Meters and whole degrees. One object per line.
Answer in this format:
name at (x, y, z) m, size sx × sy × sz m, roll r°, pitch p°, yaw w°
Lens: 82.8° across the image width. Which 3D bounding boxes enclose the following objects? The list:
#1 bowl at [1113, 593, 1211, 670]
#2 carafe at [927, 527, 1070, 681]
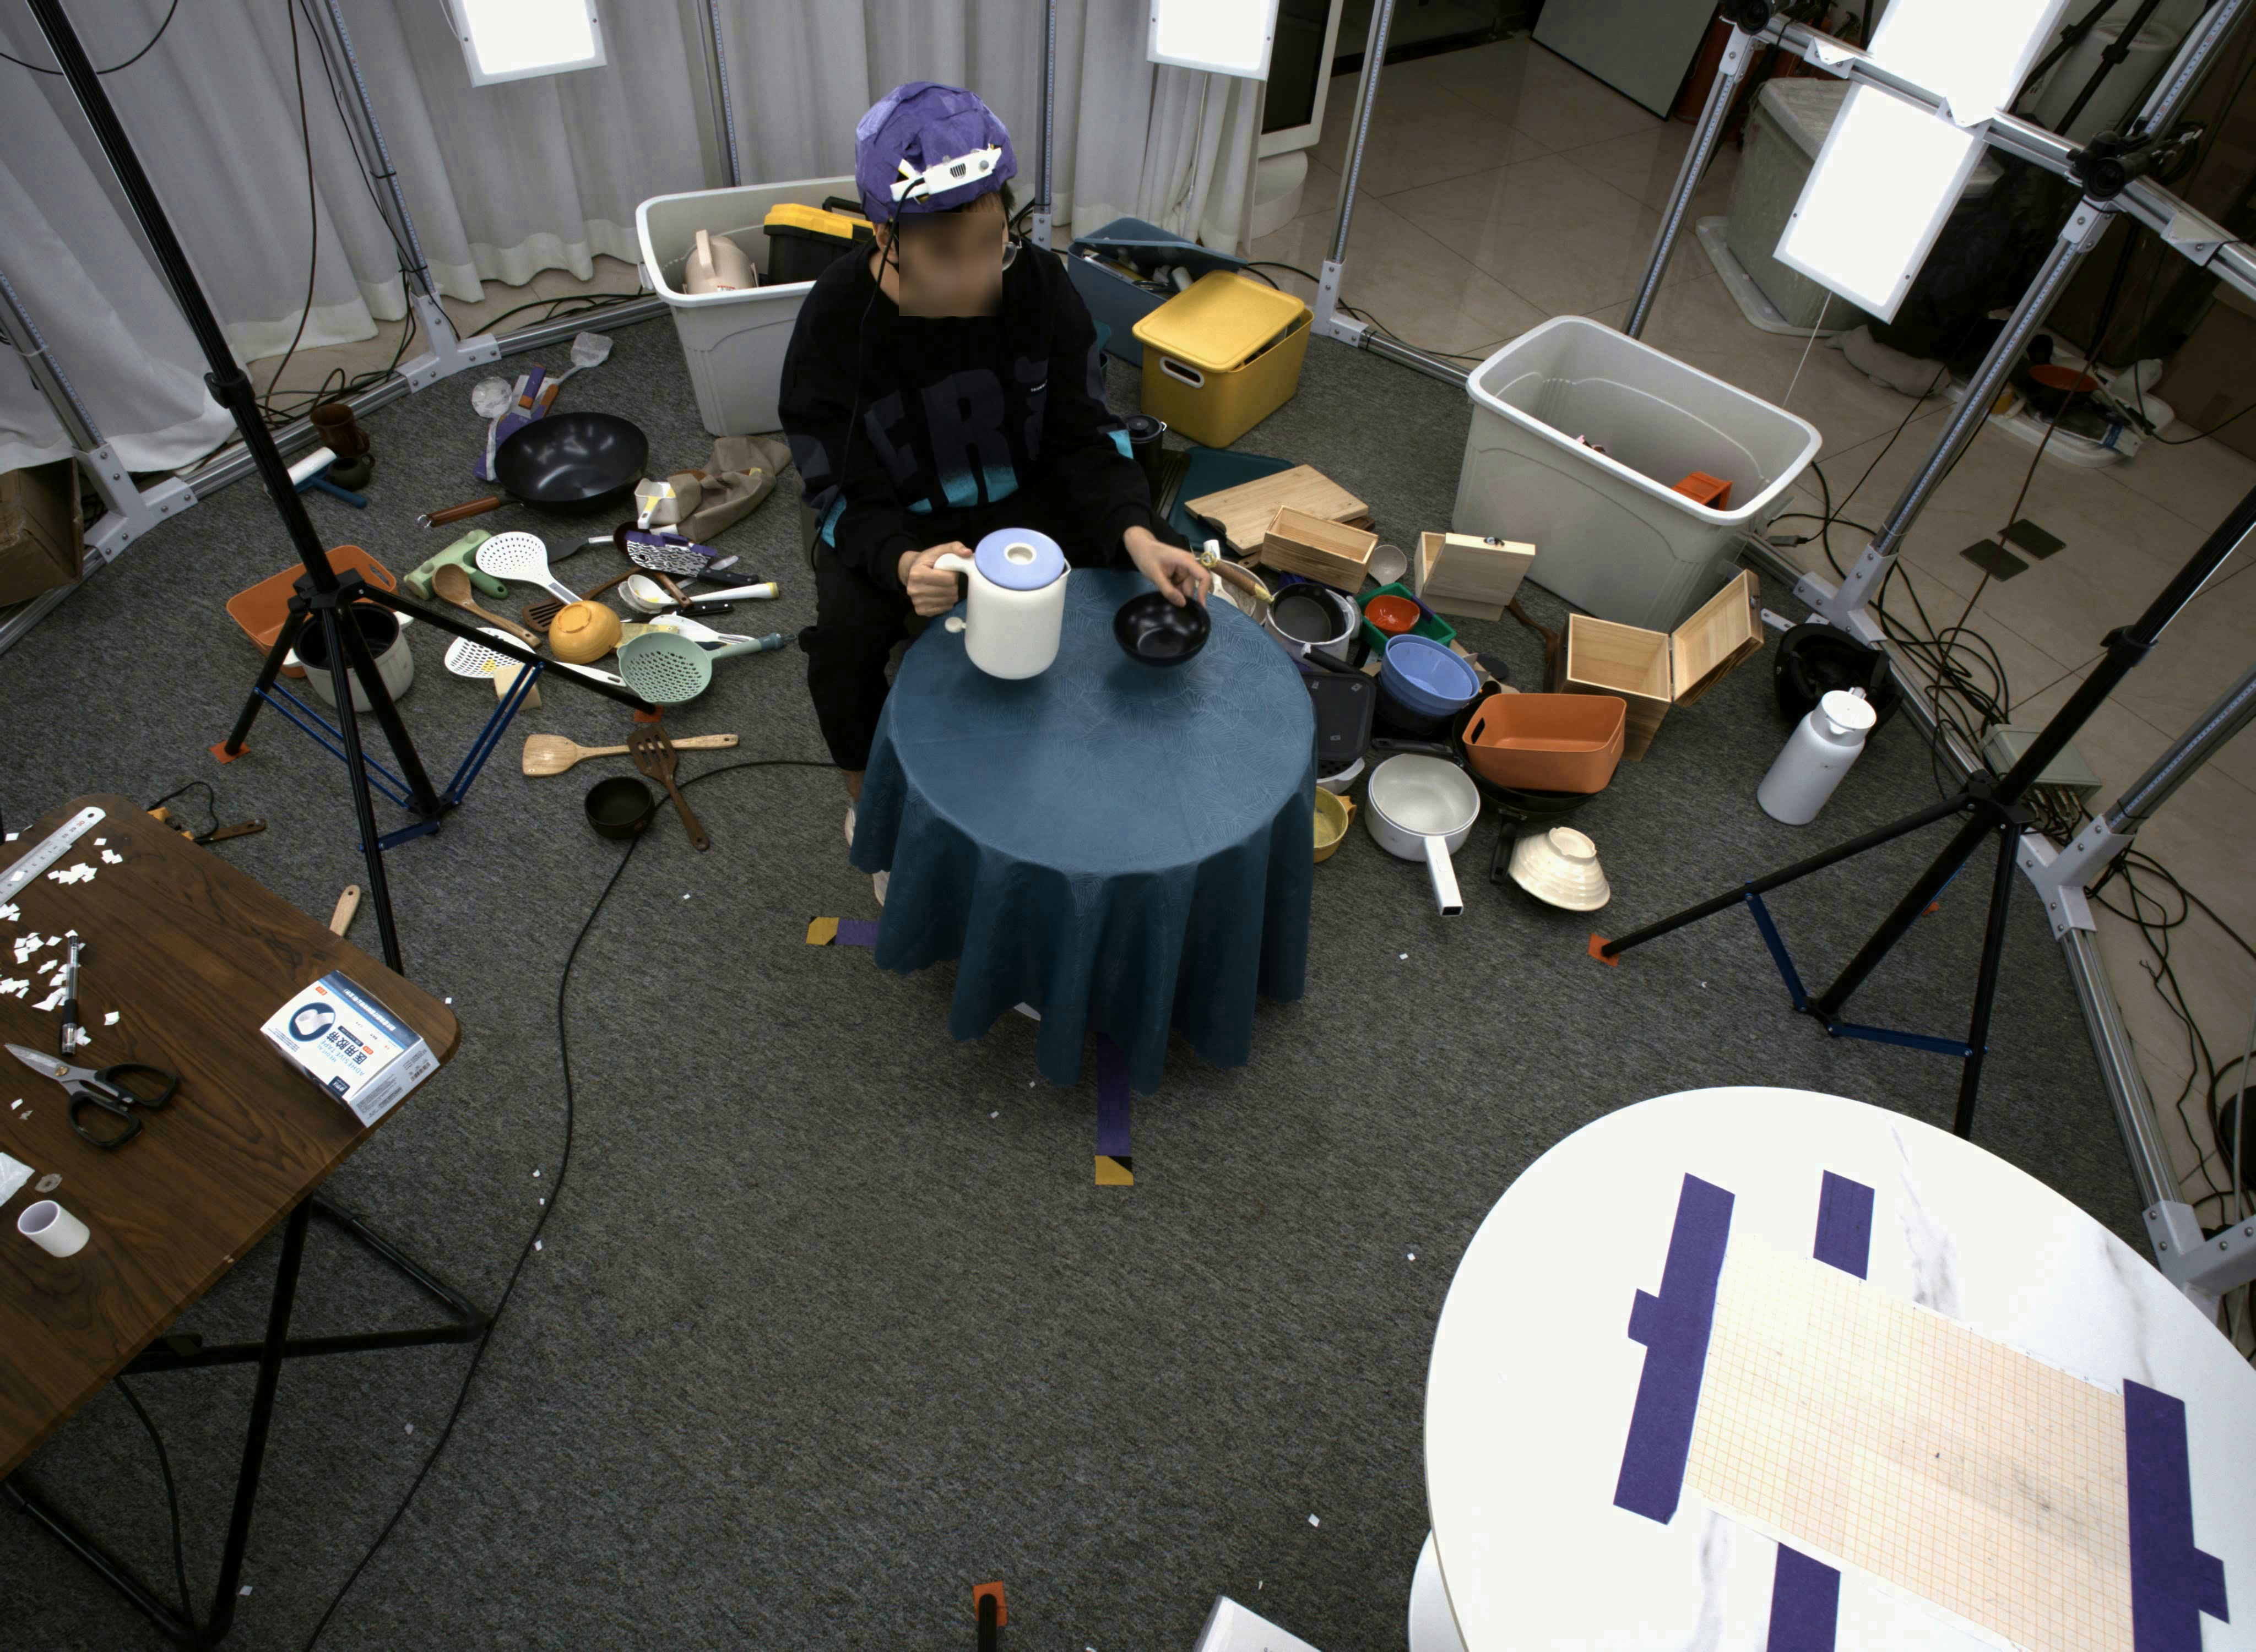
bowl at (0.048, -0.269, 1.833) m, size 0.140 × 0.048 × 0.143 m, roll -2°, pitch 49°, yaw 2°
carafe at (-0.176, -0.303, 1.742) m, size 0.191 × 0.178 × 0.135 m, roll 7°, pitch 49°, yaw 1°
